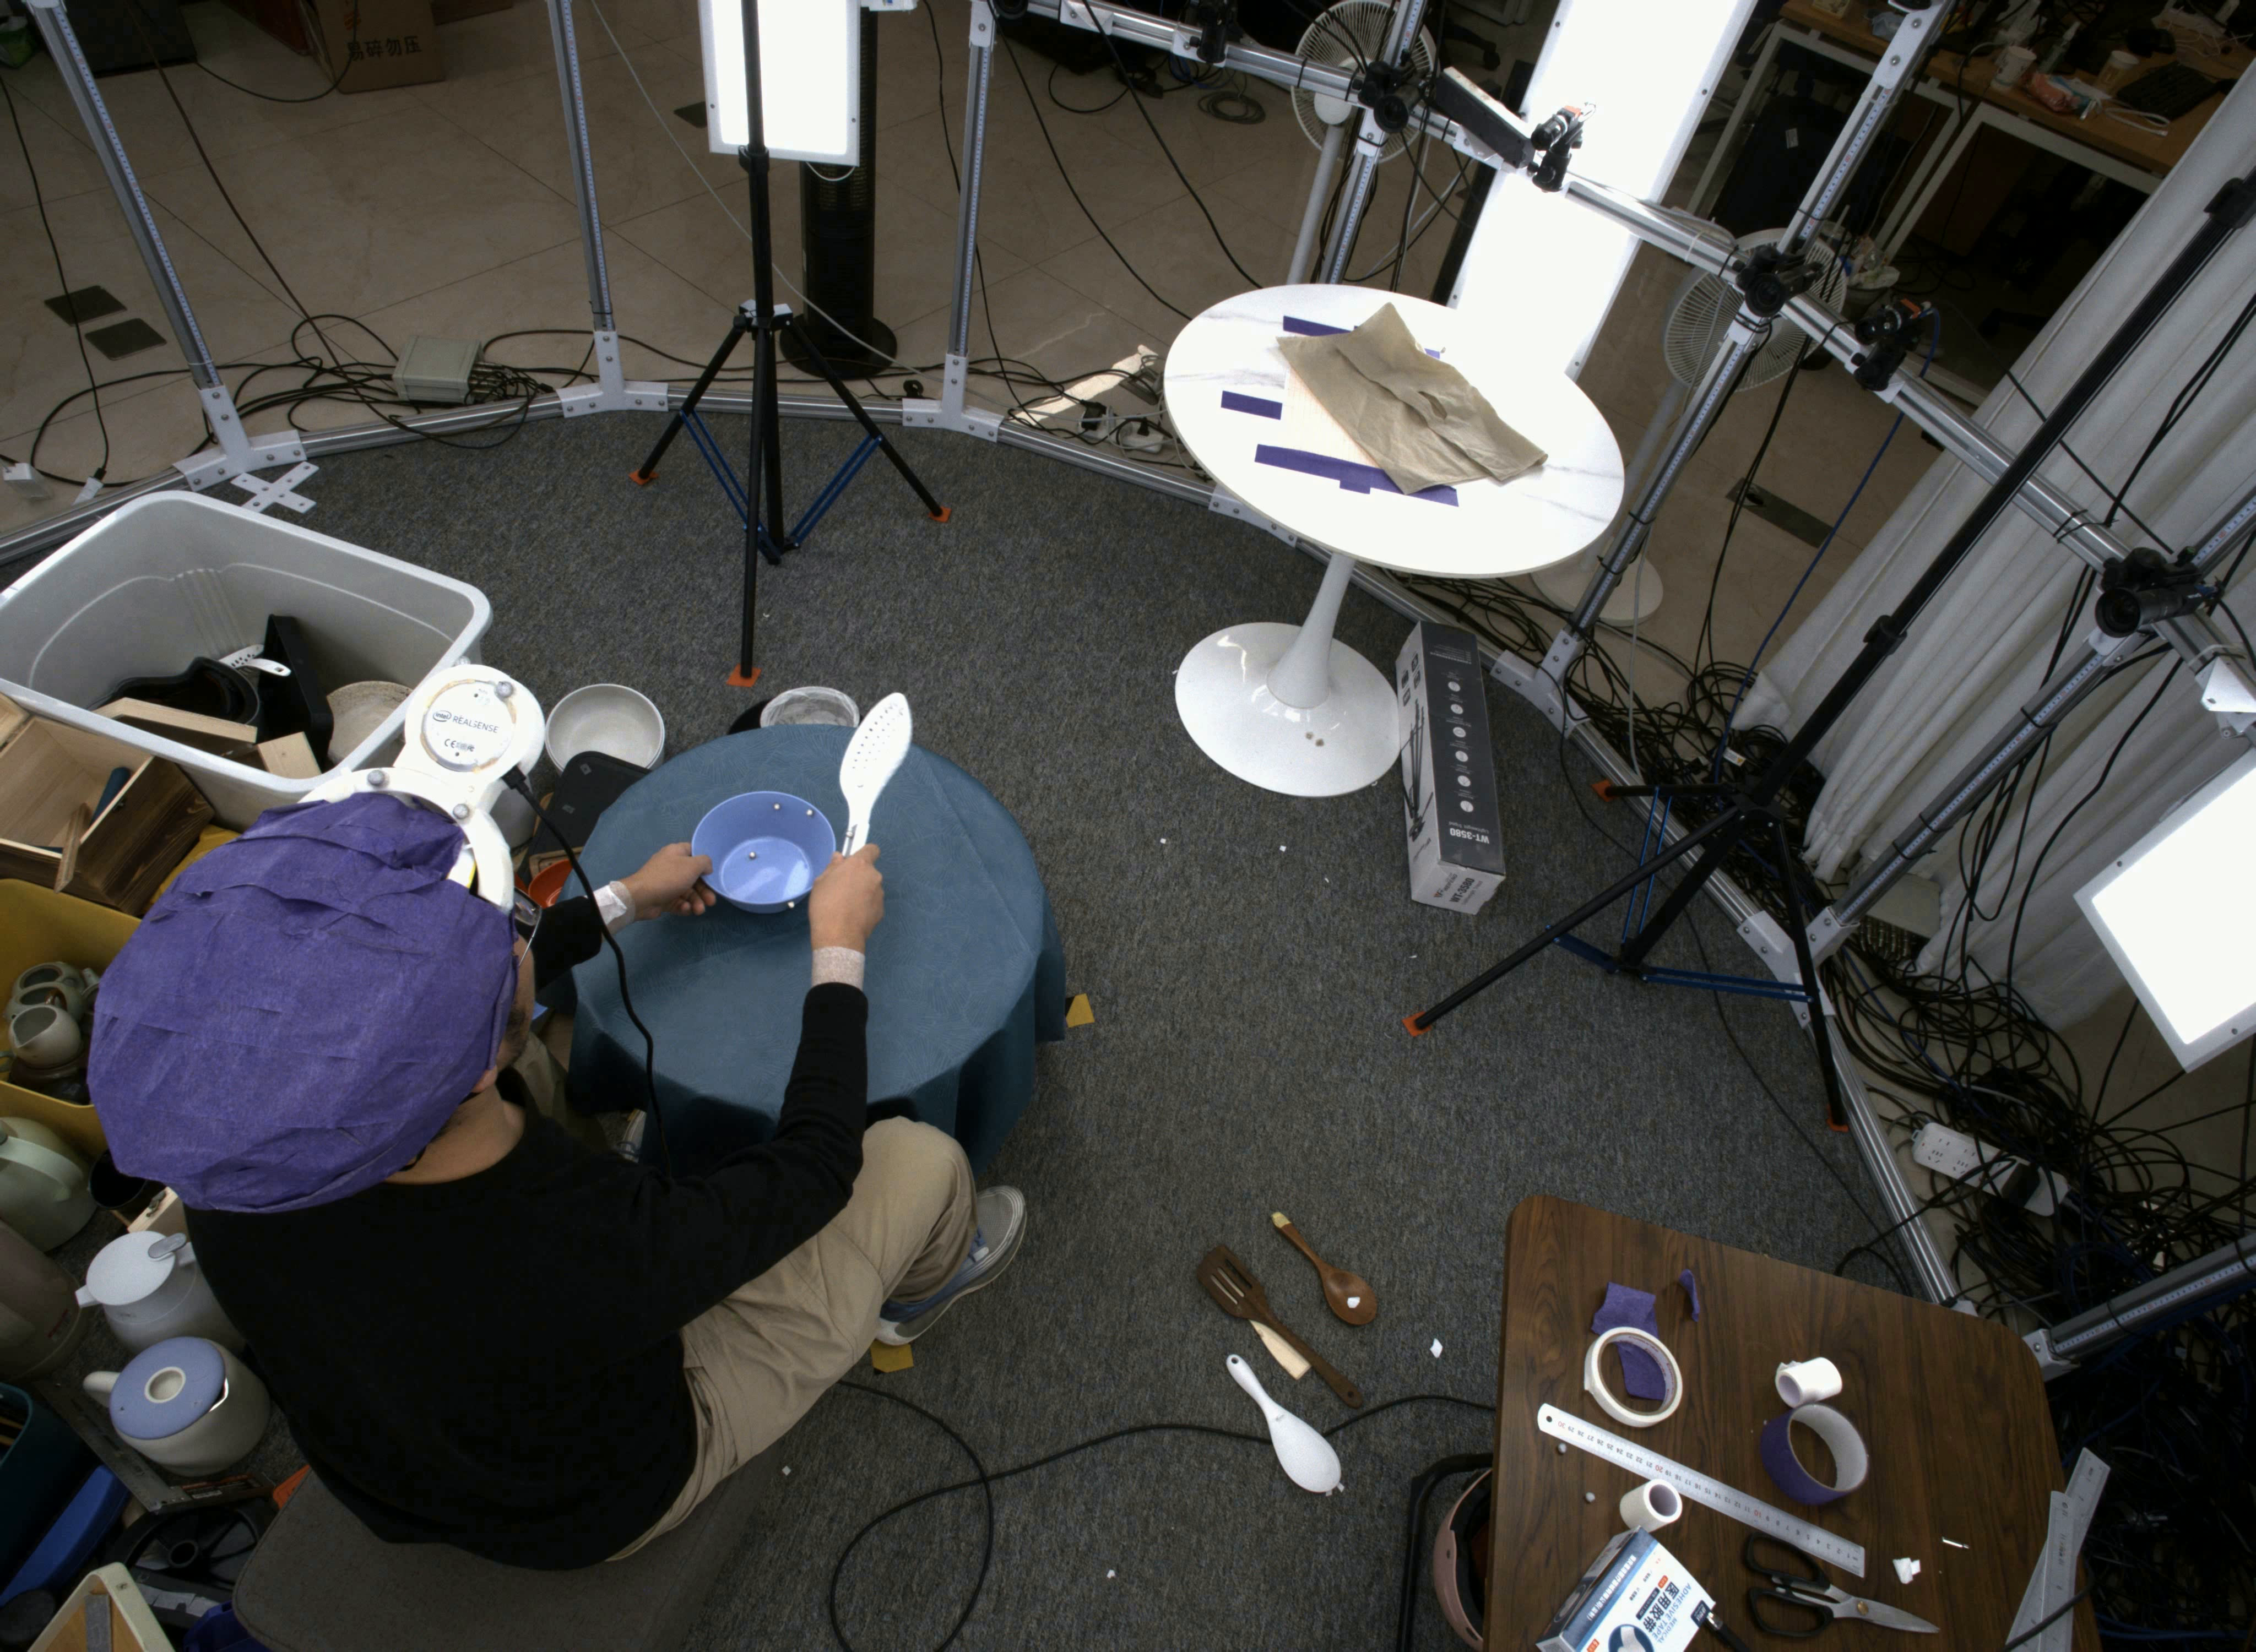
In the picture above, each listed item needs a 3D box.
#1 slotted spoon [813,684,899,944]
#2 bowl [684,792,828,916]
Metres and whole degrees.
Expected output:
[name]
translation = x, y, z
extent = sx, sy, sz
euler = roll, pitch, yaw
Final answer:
[slotted spoon]
translation = -0.322, -0.019, 1.502
extent = 0.047, 0.134, 0.344
euler = 33, 45, -29
[bowl]
translation = -0.466, 0.044, 1.630
extent = 0.176, 0.071, 0.173
euler = 7, 53, -8
